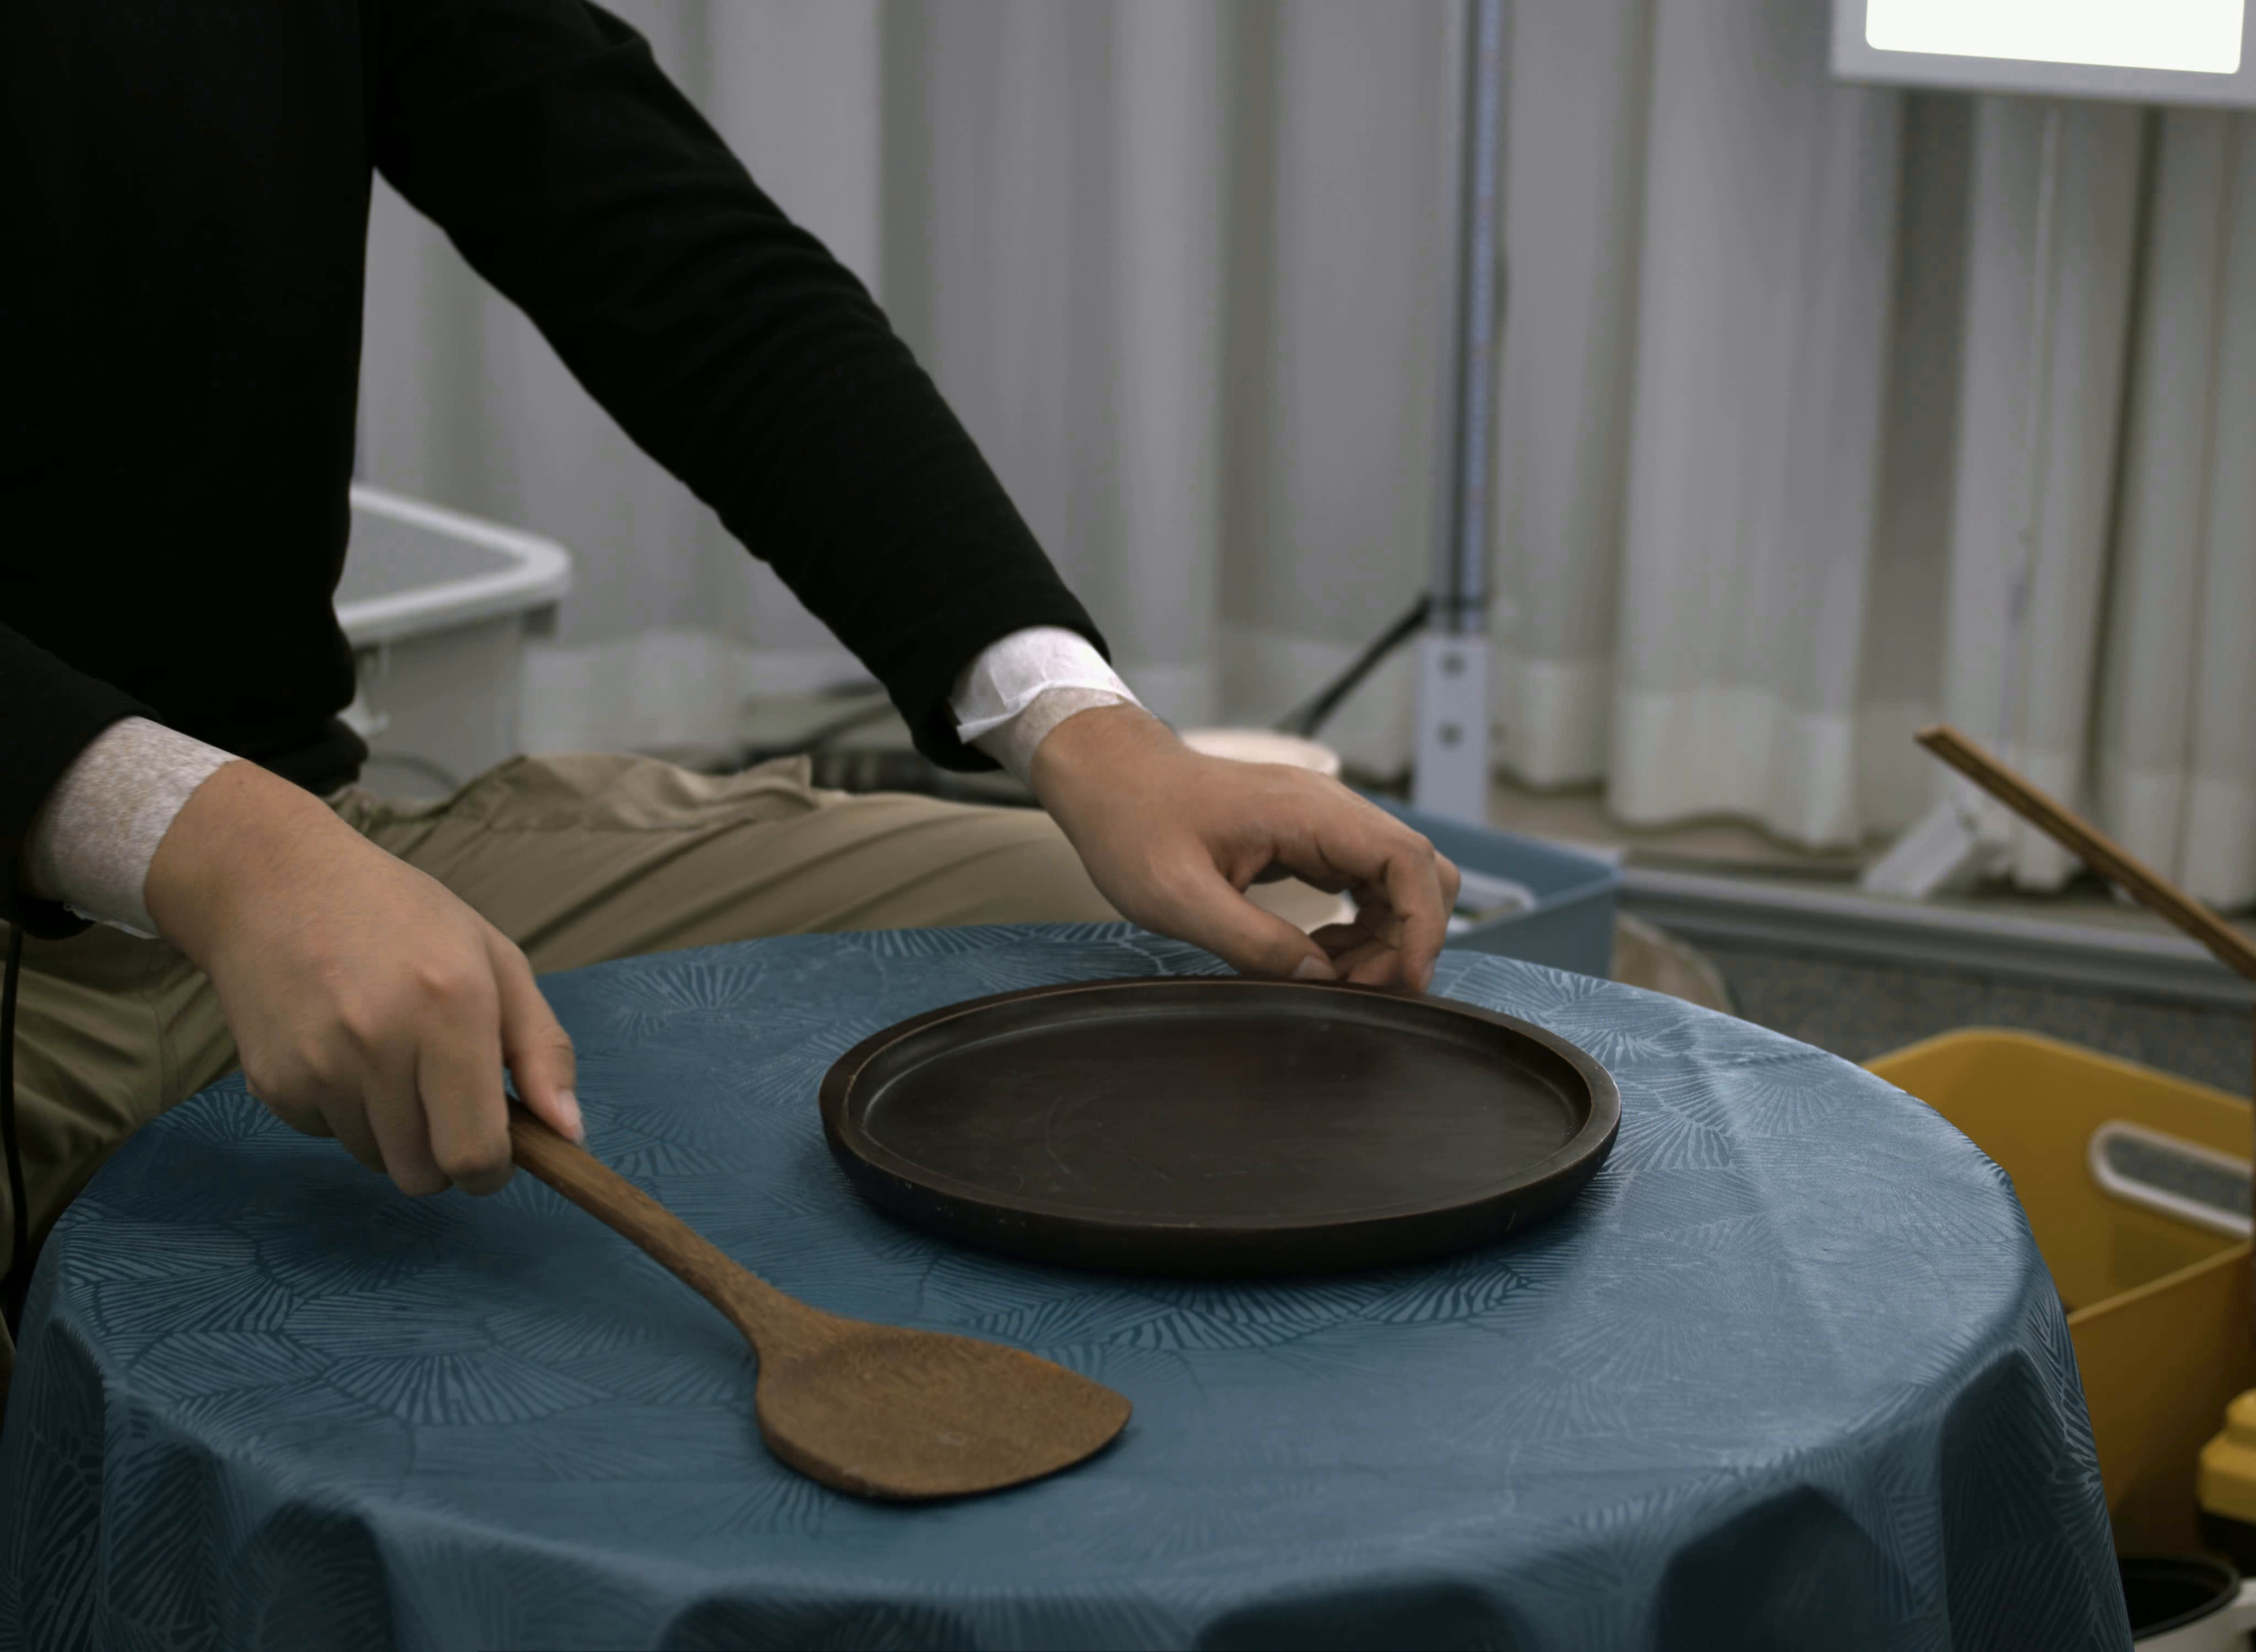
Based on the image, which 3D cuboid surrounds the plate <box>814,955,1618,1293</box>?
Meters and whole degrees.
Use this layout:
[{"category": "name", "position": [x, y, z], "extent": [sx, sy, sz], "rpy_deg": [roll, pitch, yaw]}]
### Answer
[{"category": "plate", "position": [0.028, 0.093, 1.651], "extent": [0.254, 0.029, 0.253], "rpy_deg": [0, 17, 0]}]

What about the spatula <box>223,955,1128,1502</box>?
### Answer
[{"category": "spatula", "position": [-0.151, 0.108, 1.519], "extent": [0.096, 0.016, 0.380], "rpy_deg": [-13, 30, -41]}]
